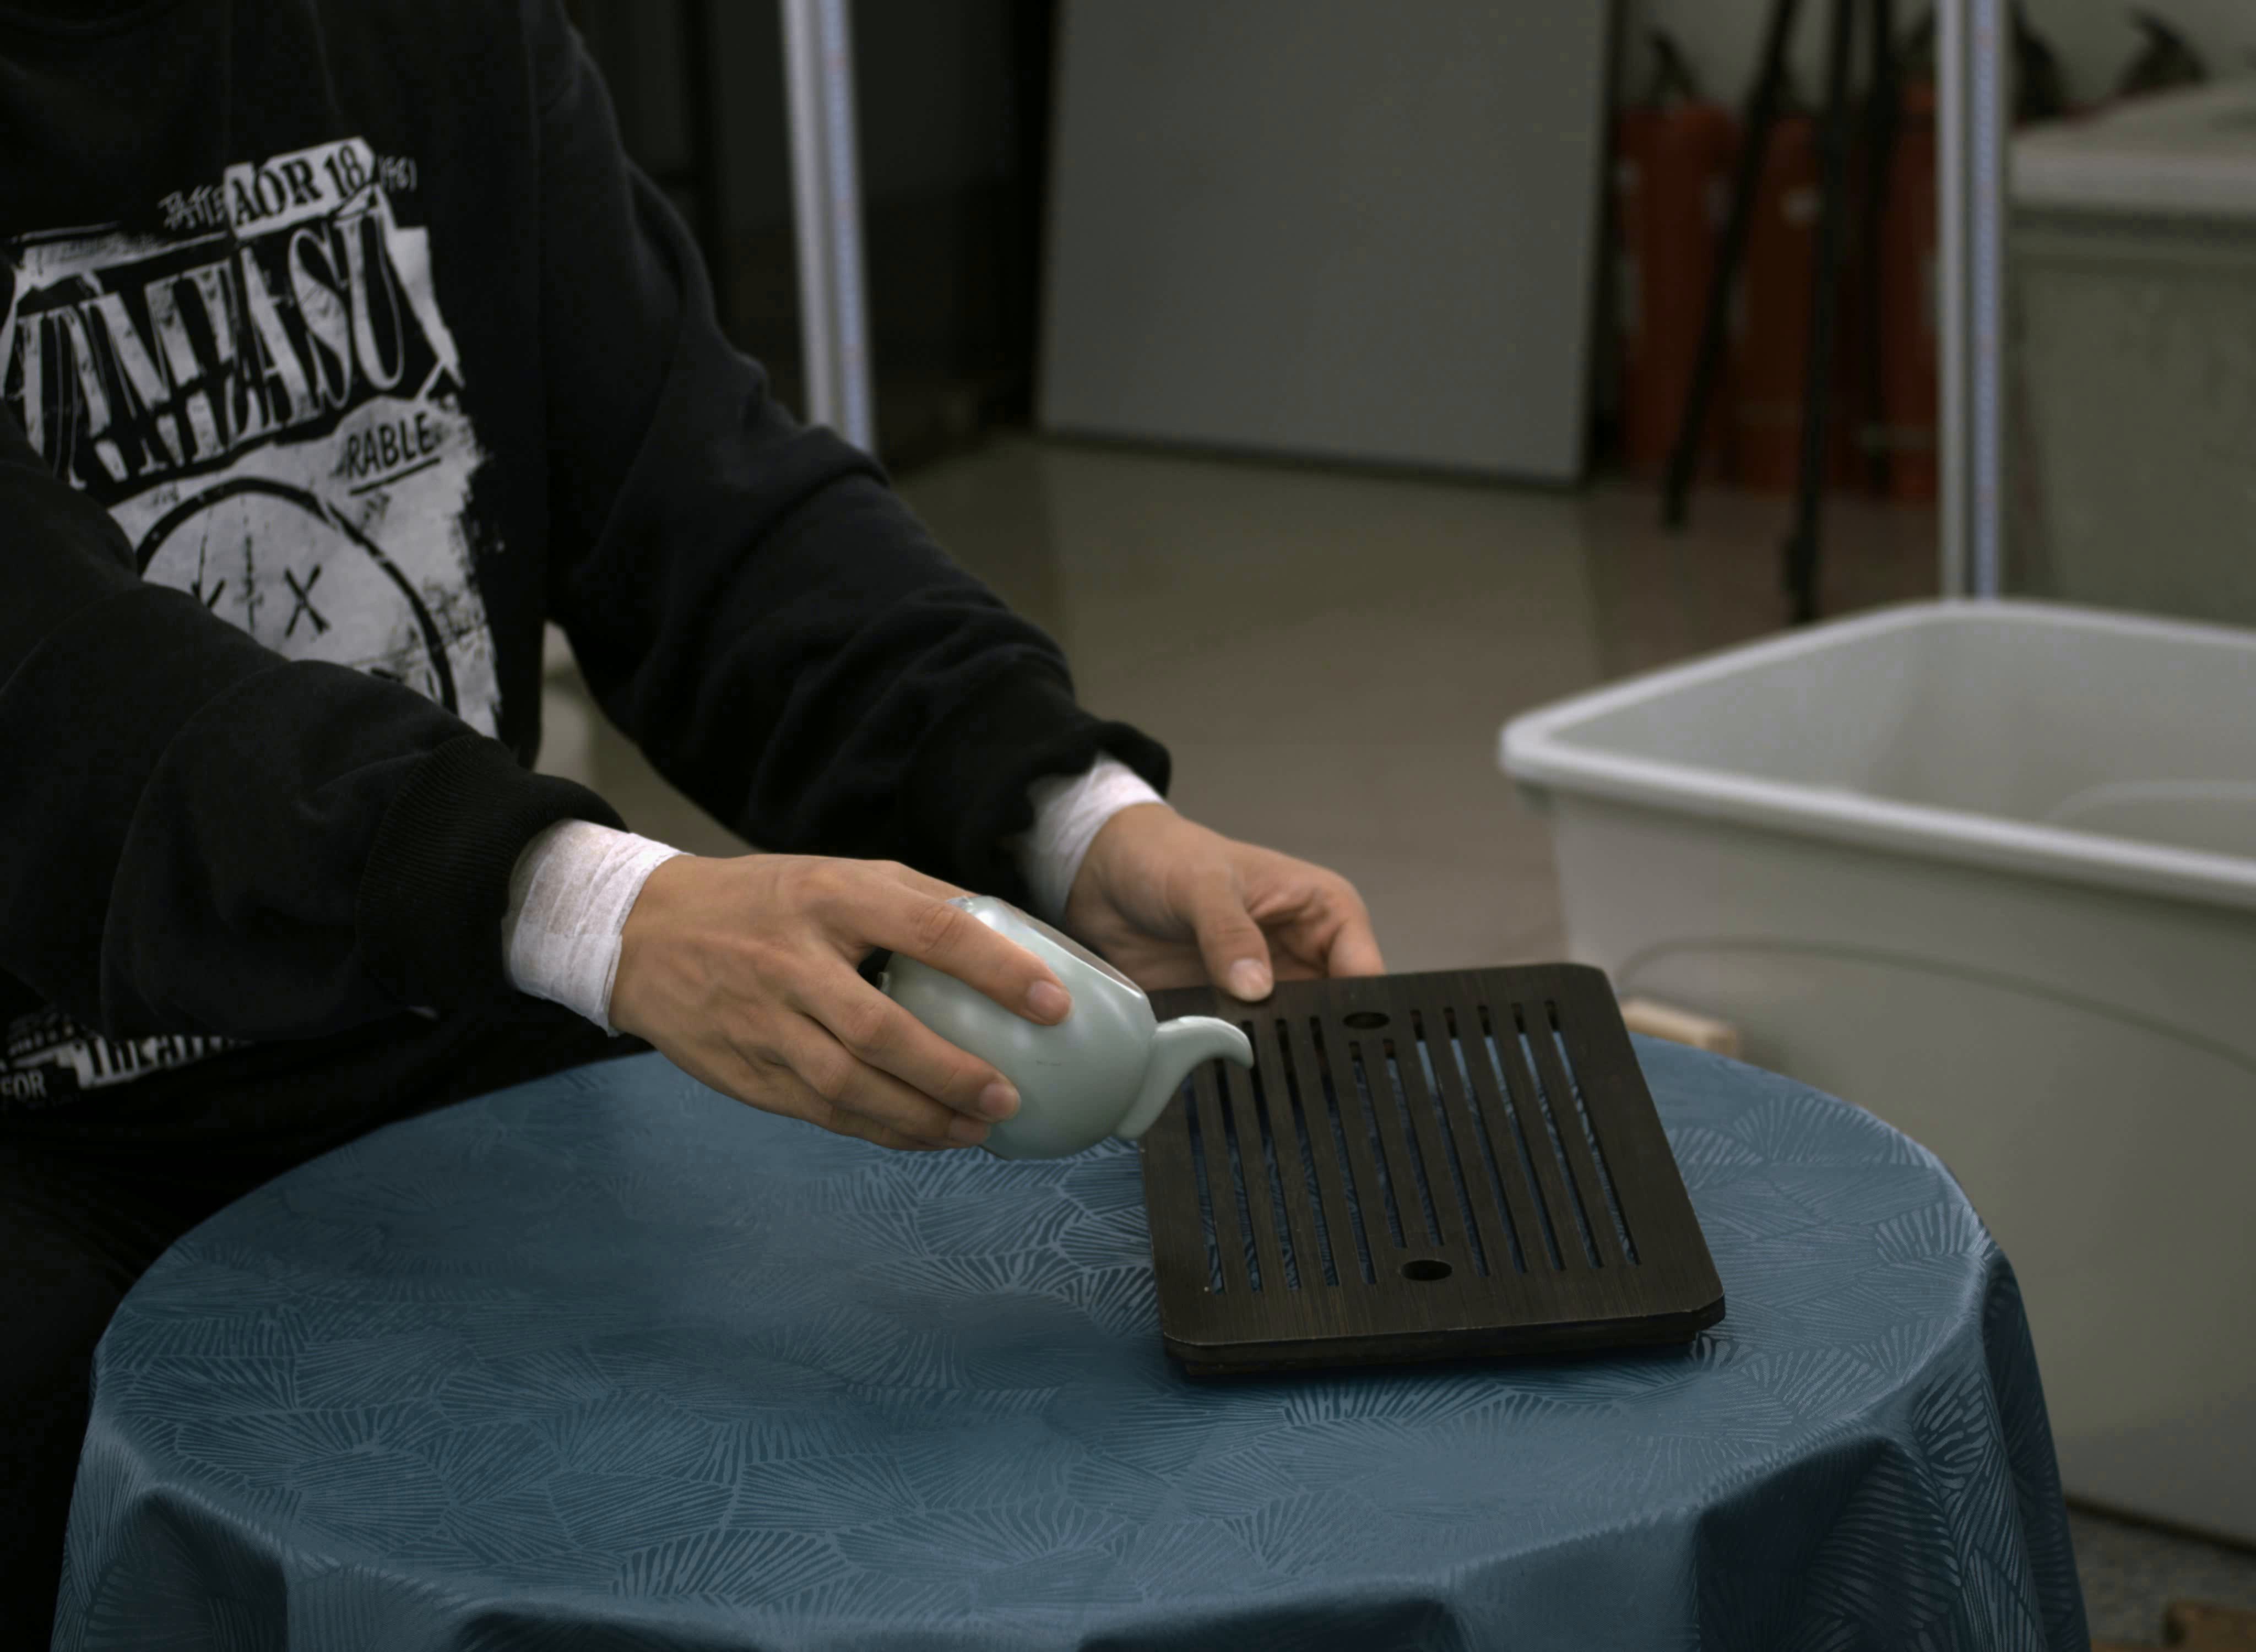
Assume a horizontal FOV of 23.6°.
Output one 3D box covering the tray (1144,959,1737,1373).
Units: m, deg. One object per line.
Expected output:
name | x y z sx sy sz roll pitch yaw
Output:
tray | 0.092 0.106 1.726 0.168 0.019 0.307 -5 18 0

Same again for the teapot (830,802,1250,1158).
teapot | -0.035 0.059 1.647 0.142 0.075 0.089 34 1 -14
